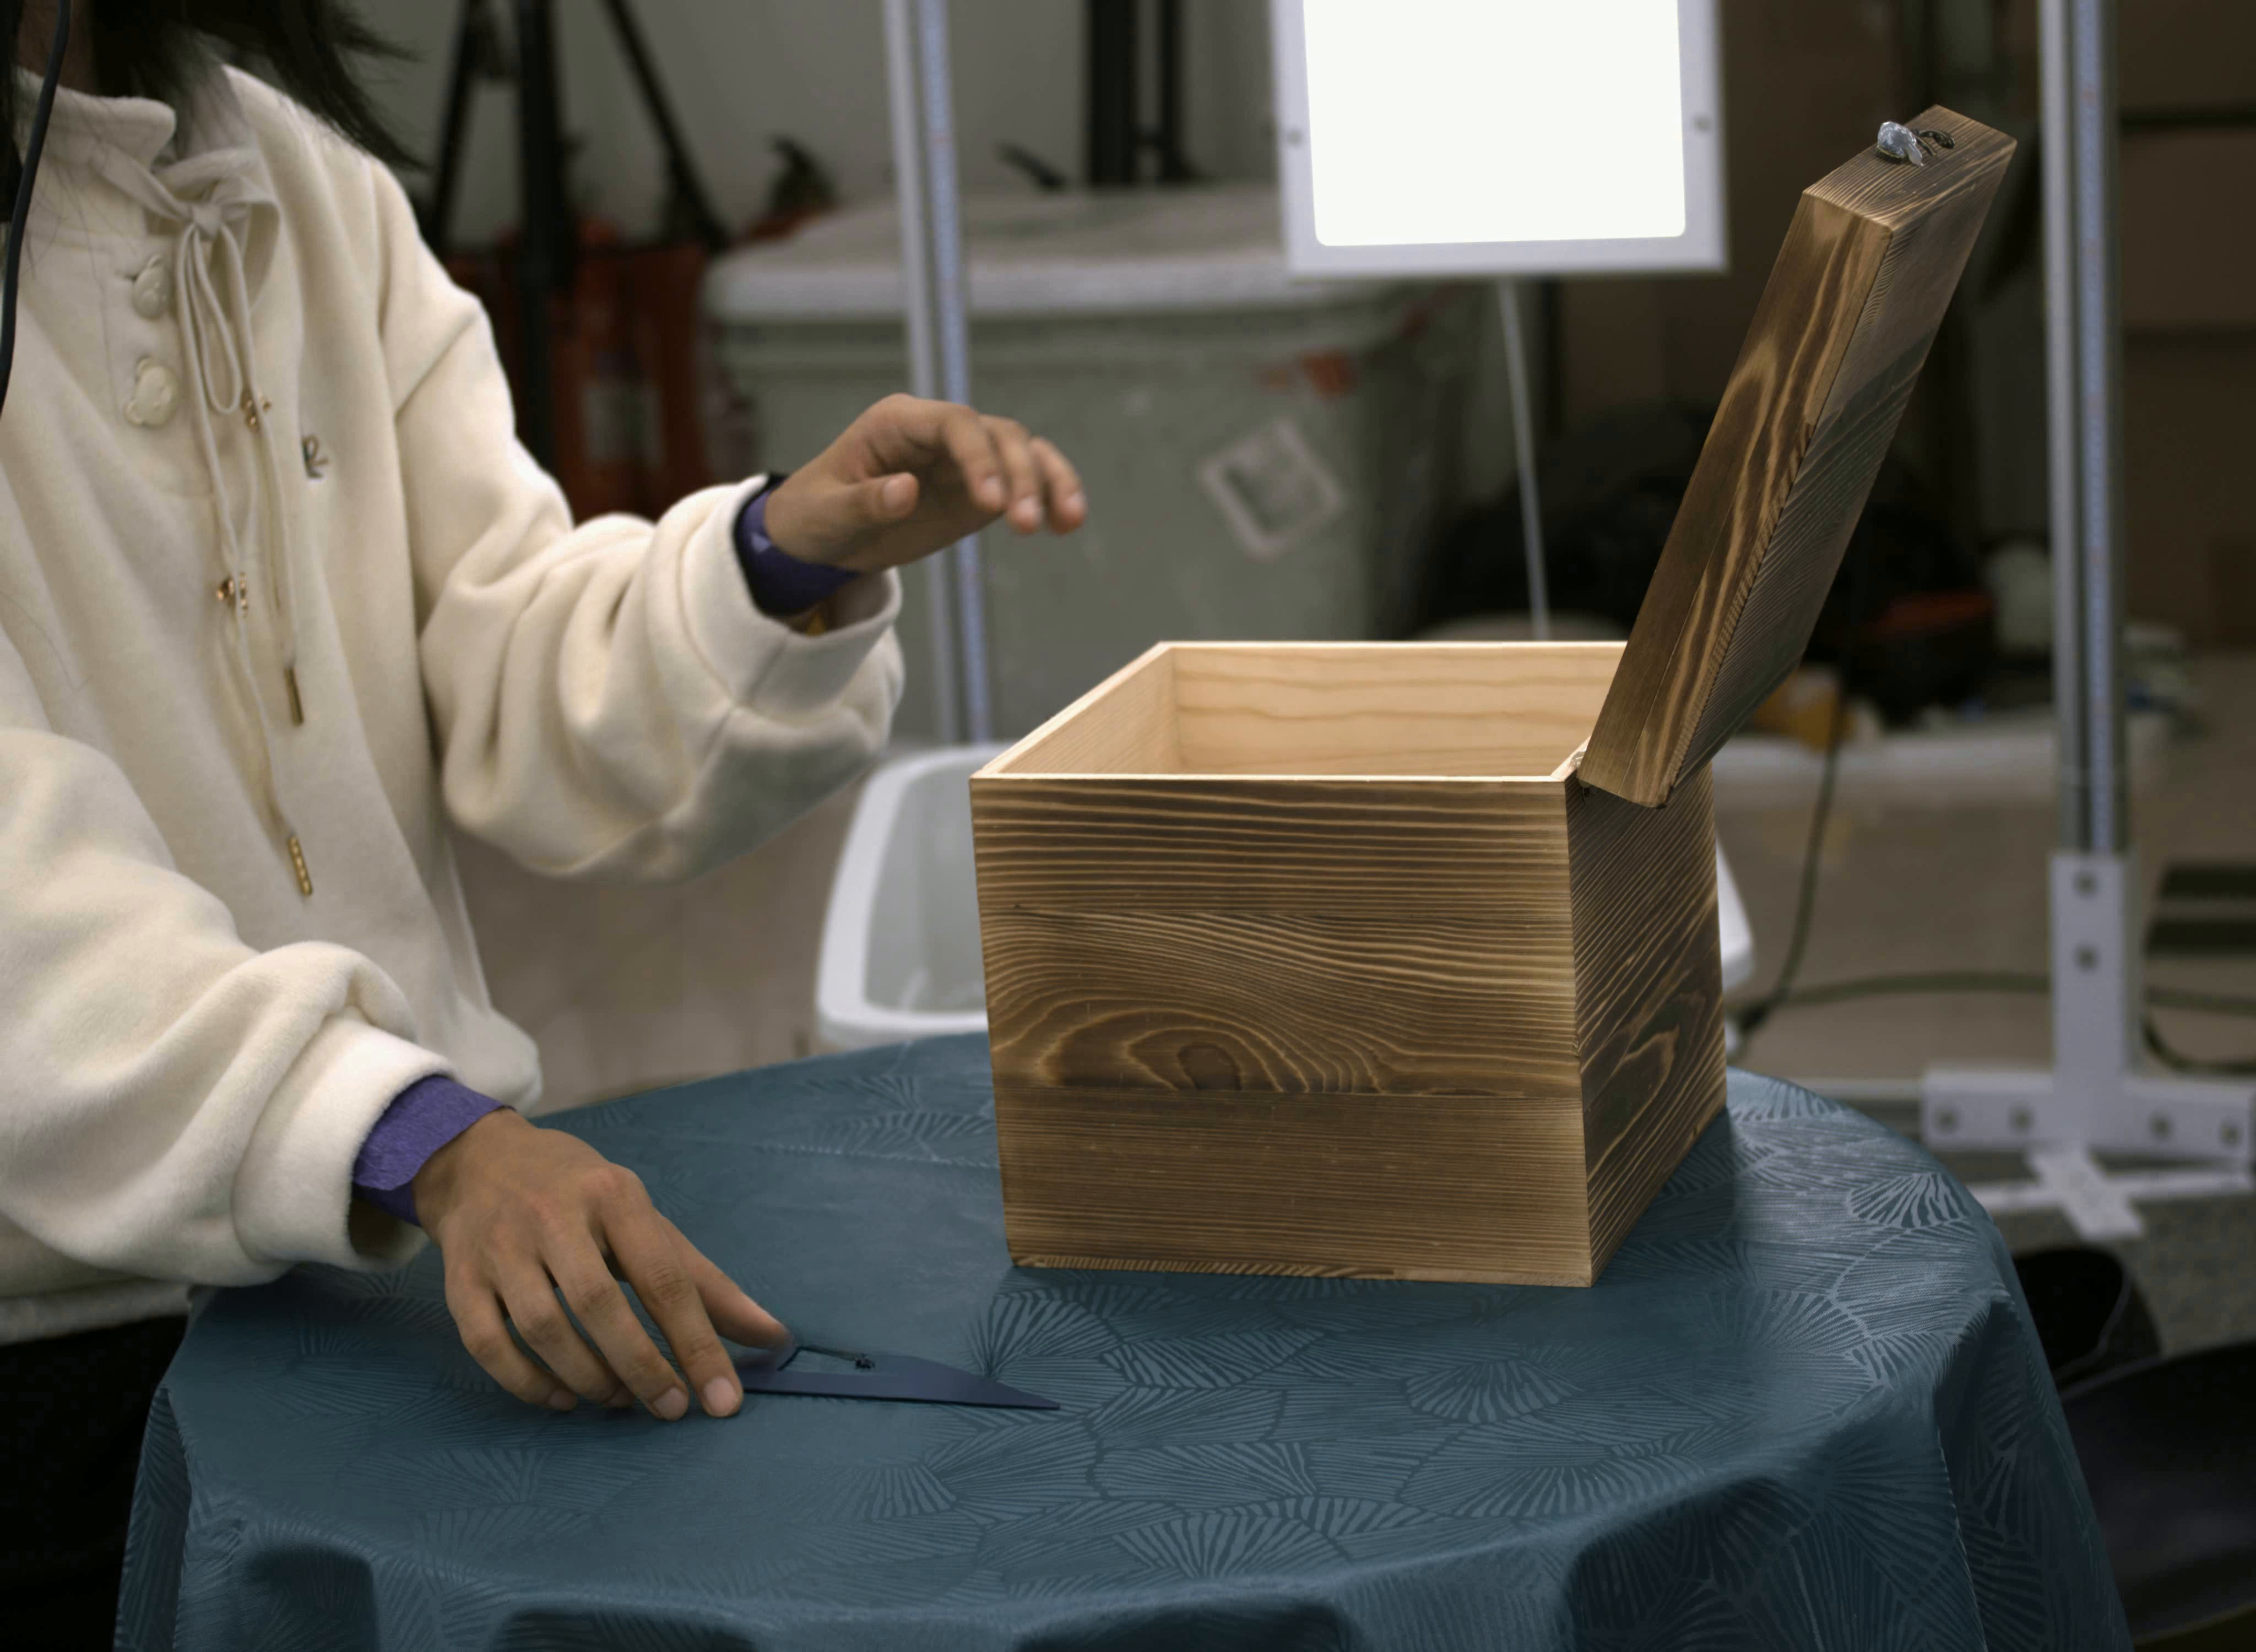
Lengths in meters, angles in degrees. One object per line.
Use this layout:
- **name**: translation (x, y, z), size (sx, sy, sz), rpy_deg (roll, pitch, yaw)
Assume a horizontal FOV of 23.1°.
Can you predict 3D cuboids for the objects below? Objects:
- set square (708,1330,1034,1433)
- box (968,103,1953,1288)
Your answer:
- **set square**: translation (-0.086, 0.176, 1.717), size (0.059, 0.006, 0.134), rpy_deg (-10, 14, -33)
- **box**: translation (0.123, -0.050, 1.823), size (0.326, 0.377, 0.205), rpy_deg (1, 14, 20)
